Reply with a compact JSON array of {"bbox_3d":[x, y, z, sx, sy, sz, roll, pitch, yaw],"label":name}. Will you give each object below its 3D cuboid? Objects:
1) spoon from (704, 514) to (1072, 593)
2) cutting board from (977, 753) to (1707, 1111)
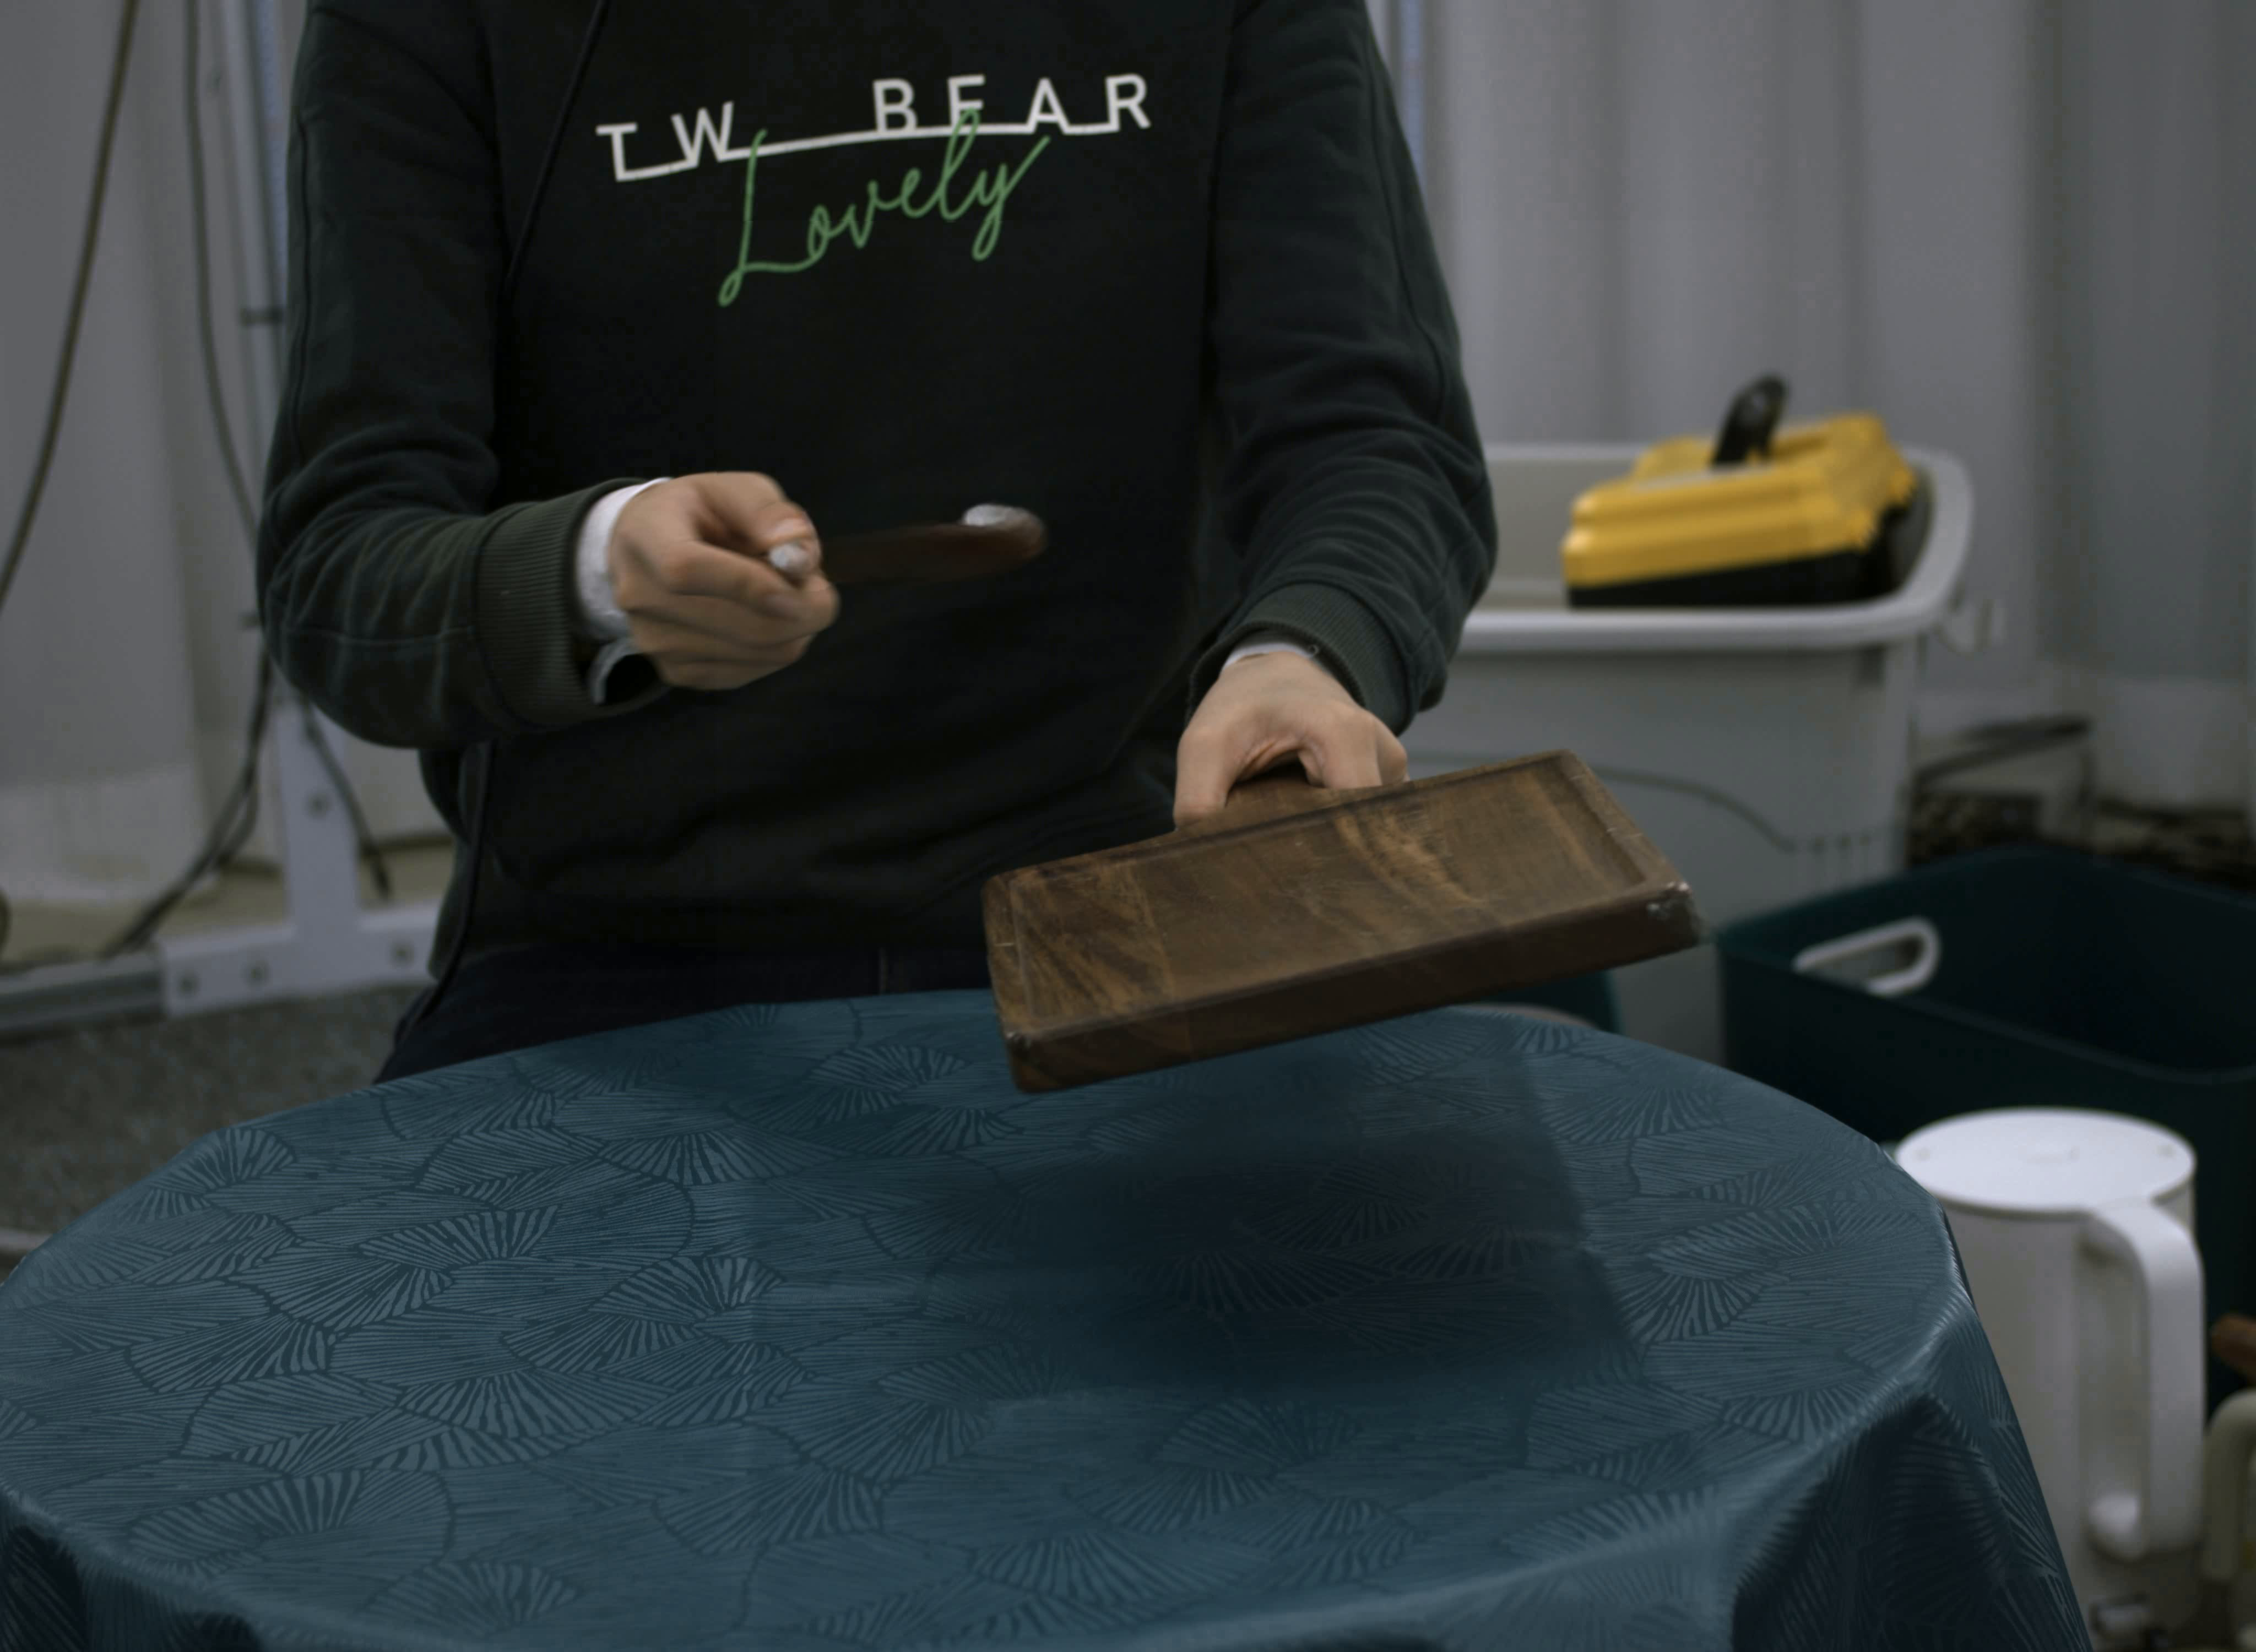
[{"bbox_3d":[-0.084,-0.084,1.717,0.075,0.017,0.216,-7,3,-26],"label":"spoon"},{"bbox_3d":[0.054,0.020,1.676,0.200,0.023,0.354,-14,10,-1],"label":"cutting board"}]
